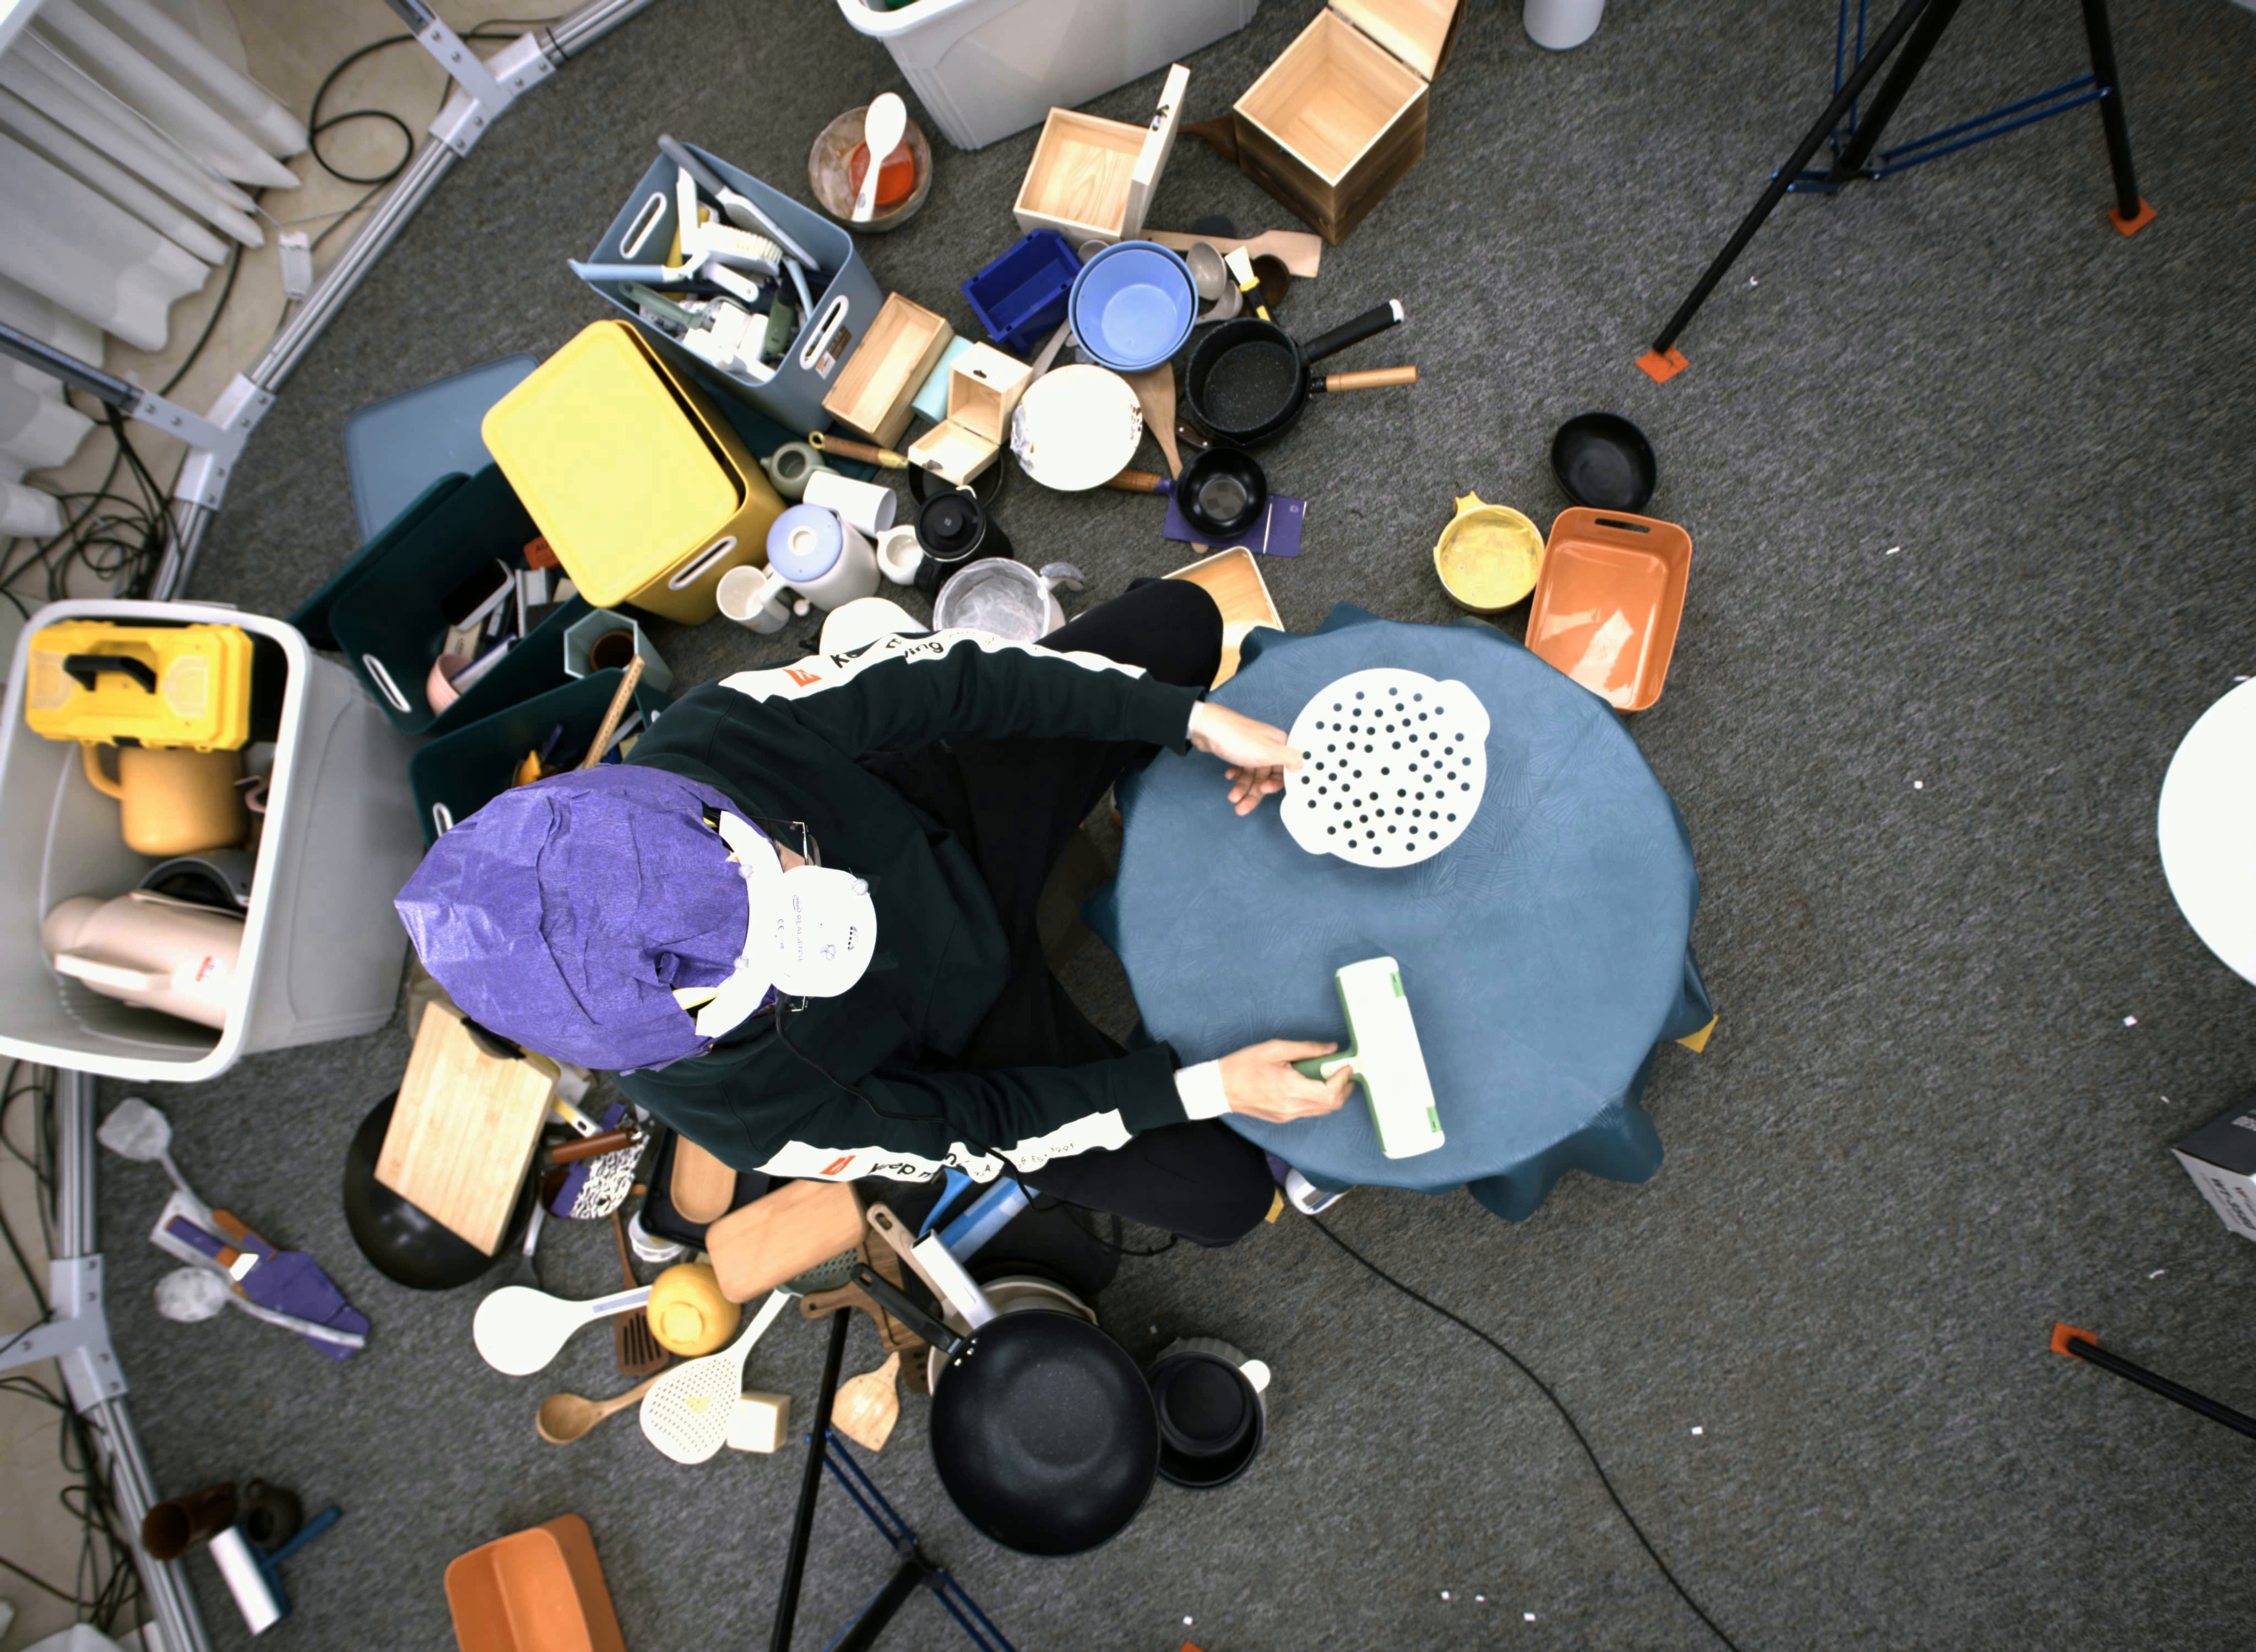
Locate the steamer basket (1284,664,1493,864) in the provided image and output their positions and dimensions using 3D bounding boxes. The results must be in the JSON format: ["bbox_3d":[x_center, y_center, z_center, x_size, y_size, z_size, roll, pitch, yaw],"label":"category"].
[{"bbox_3d":[0.265,-0.063,1.403,0.232,0.069,0.201,-37,84,12],"label":"steamer basket"}]

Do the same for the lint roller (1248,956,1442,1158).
[{"bbox_3d":[0.202,0.243,1.390,0.185,0.082,0.197,-16,84,15],"label":"lint roller"}]
